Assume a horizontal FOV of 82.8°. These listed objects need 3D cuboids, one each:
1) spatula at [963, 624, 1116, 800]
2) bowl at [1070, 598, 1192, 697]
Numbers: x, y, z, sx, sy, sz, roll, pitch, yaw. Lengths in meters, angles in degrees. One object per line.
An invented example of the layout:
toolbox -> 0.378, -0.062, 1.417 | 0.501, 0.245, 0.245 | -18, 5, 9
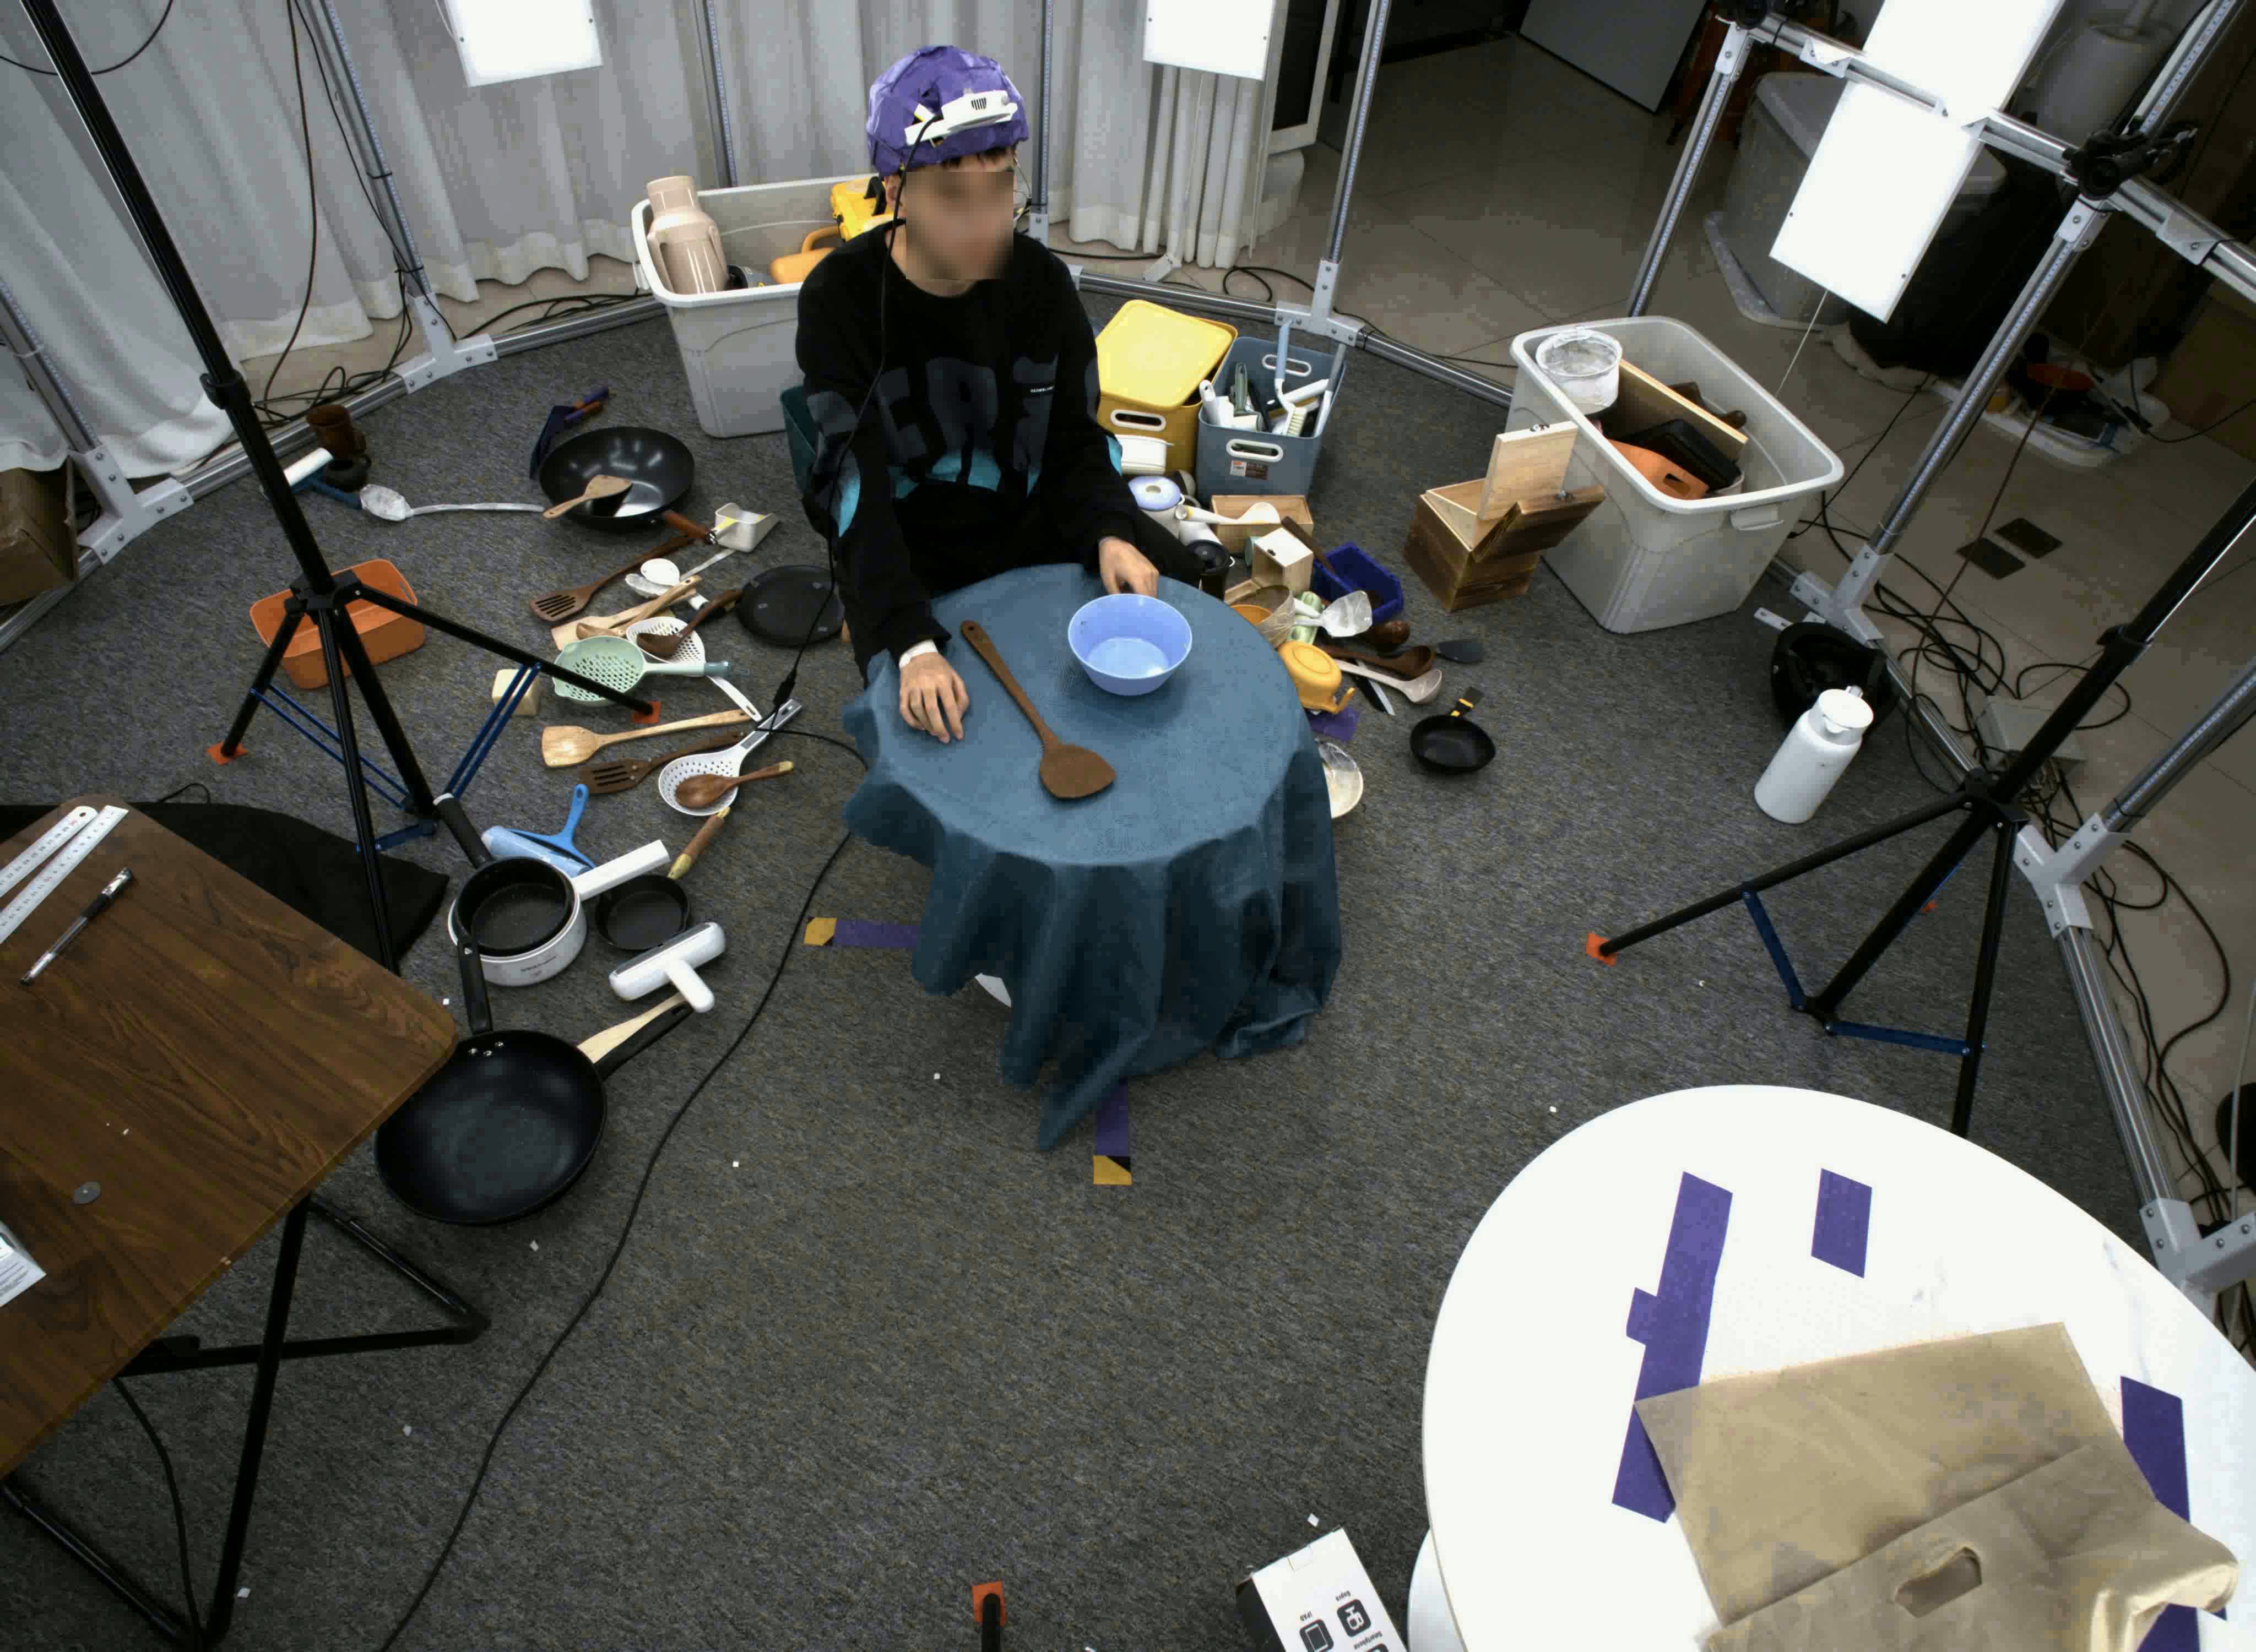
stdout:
spatula -> -0.144, -0.171, 1.815 | 0.096, 0.015, 0.394 | -21, 53, -21
bowl -> 0.004, -0.249, 1.856 | 0.176, 0.068, 0.180 | 1, 48, -2
